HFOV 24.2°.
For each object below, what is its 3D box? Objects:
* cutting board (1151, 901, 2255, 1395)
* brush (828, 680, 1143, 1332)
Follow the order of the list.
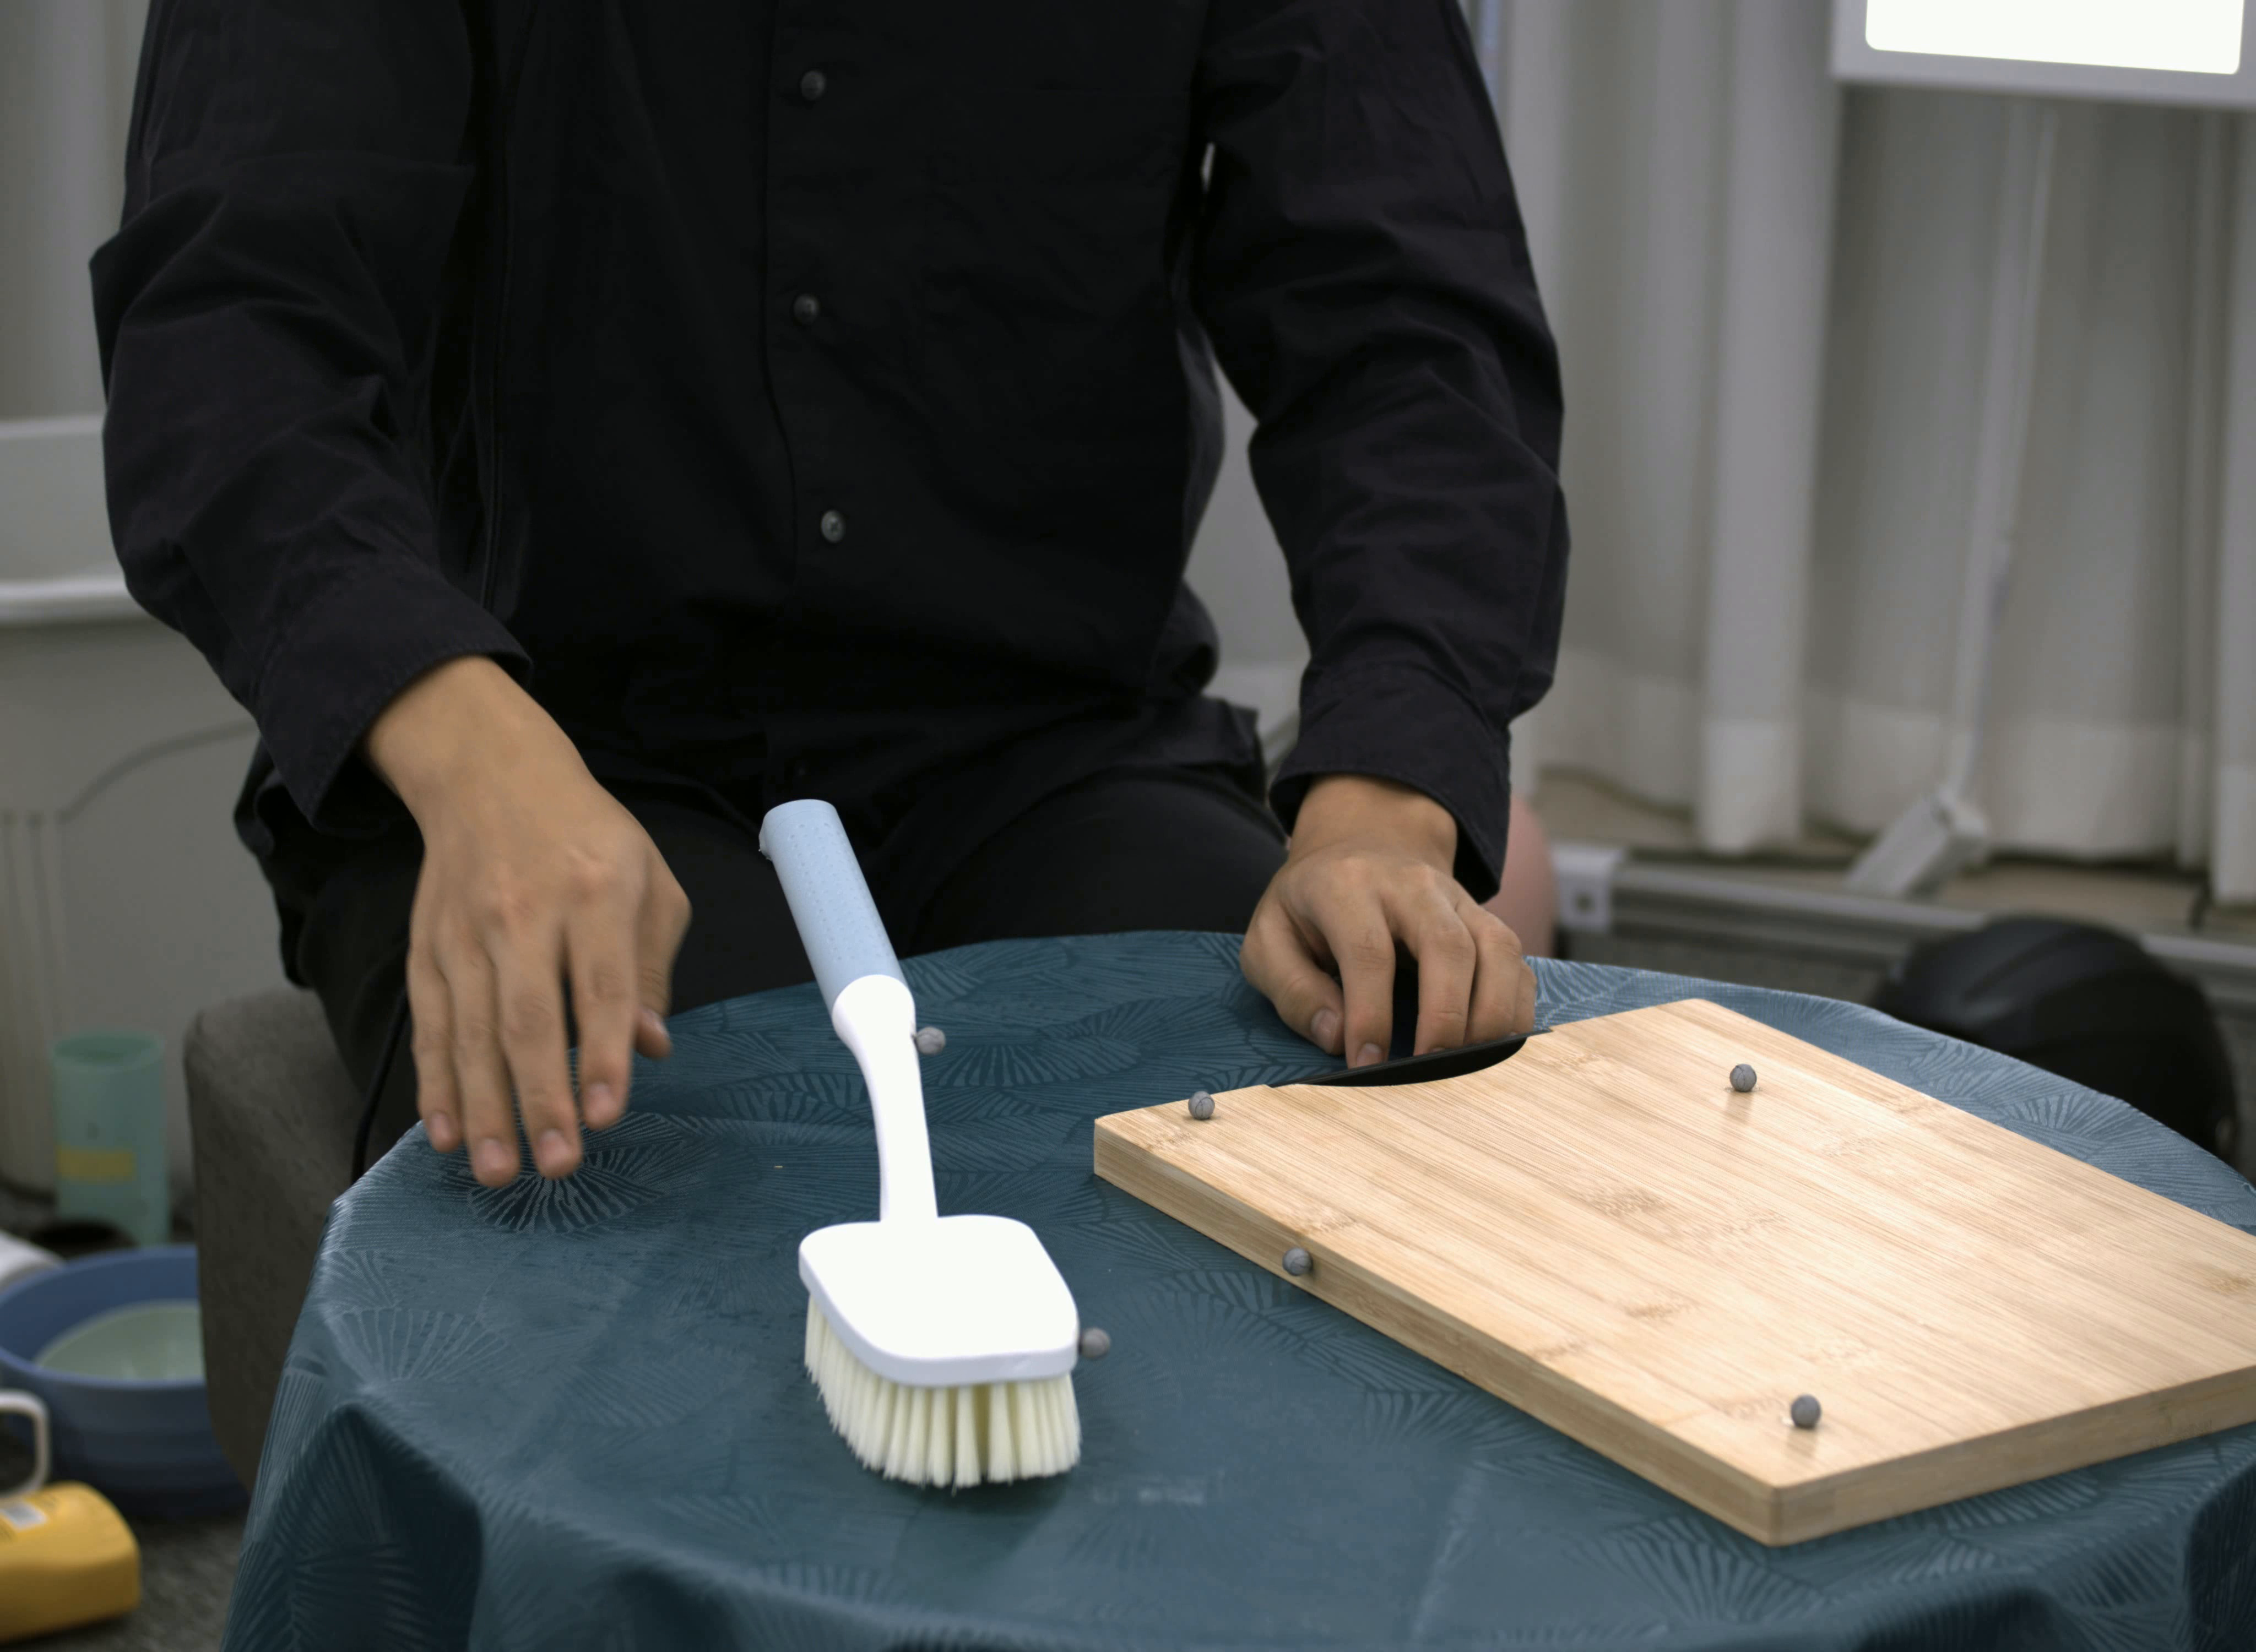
[{"bbox_3d":[0.199,0.090,1.597,0.252,0.024,0.344,-9,19,-33],"label":"cutting board"},{"bbox_3d":[-0.049,0.064,1.556,0.084,0.084,0.321,33,15,-27],"label":"brush"}]
